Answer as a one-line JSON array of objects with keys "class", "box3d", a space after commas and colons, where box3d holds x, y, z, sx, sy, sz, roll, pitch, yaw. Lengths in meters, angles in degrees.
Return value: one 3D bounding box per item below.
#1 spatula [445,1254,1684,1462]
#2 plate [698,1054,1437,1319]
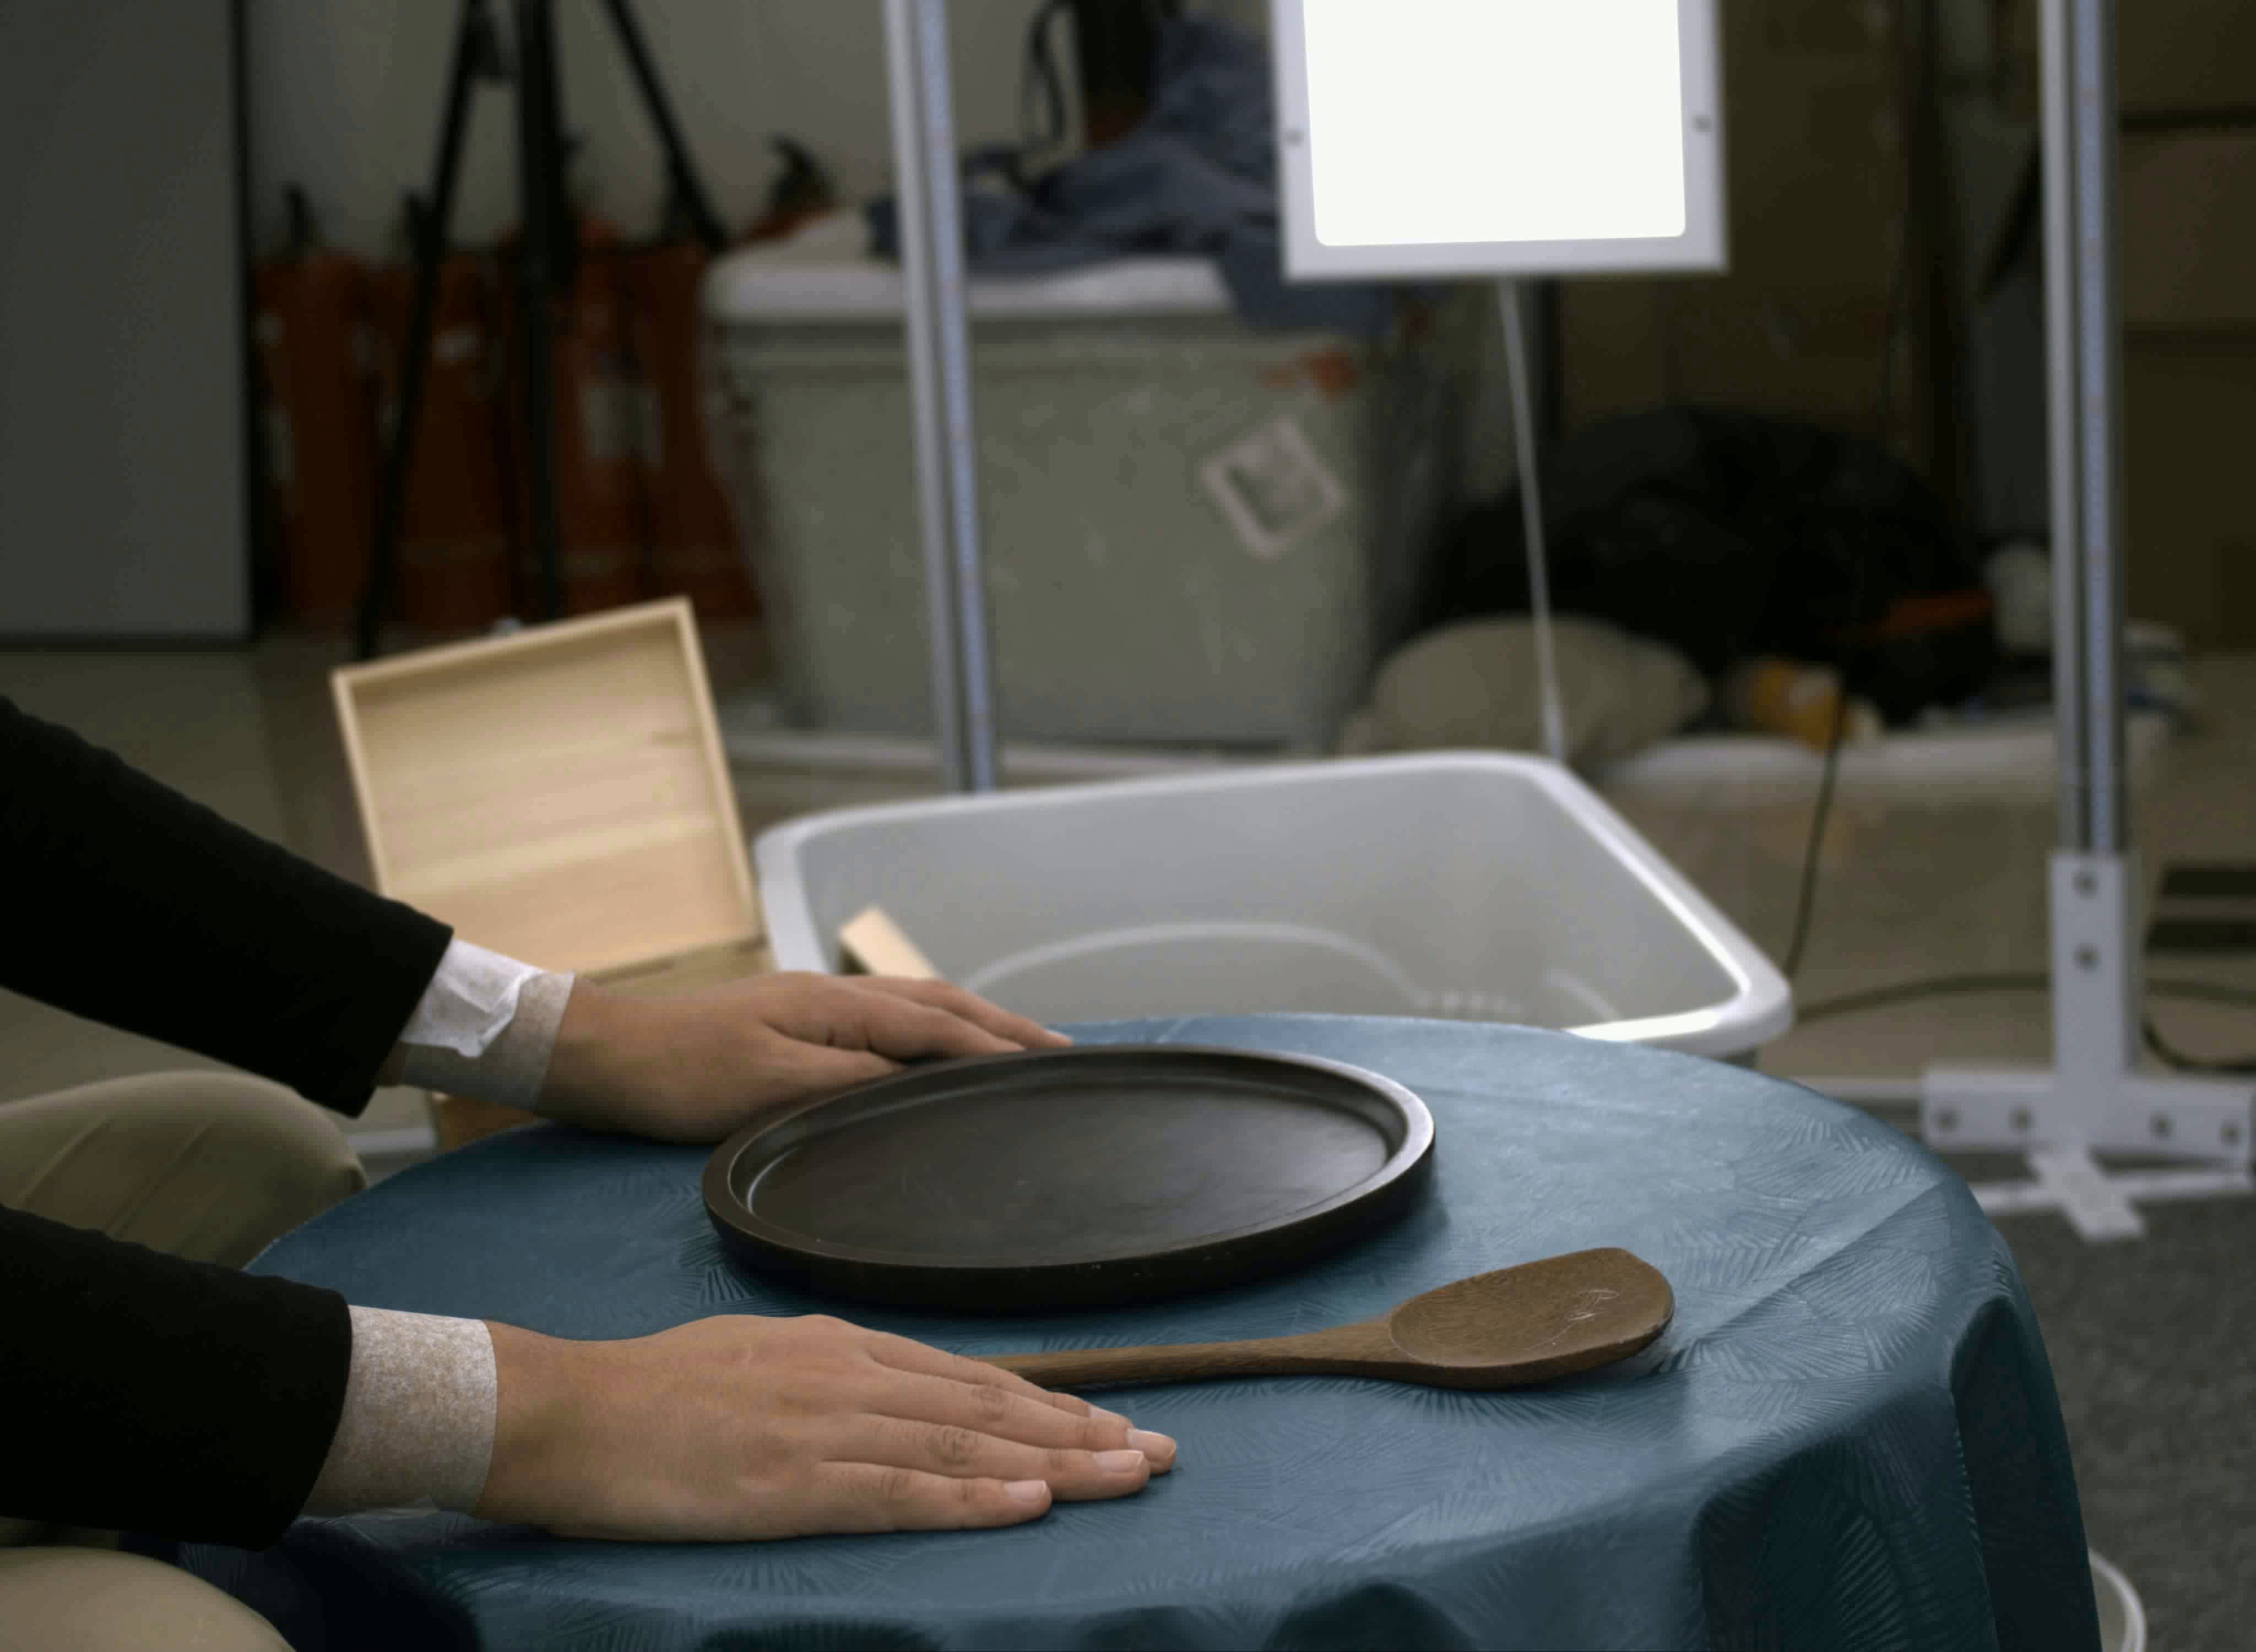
[{"class": "spatula", "box3d": [-0.019, 0.168, 1.705, 0.384, 0.016, 0.096, -6, 13, -1]}, {"class": "plate", "box3d": [-0.021, 0.120, 1.885, 0.254, 0.029, 0.254, -4, 15, 0]}]
